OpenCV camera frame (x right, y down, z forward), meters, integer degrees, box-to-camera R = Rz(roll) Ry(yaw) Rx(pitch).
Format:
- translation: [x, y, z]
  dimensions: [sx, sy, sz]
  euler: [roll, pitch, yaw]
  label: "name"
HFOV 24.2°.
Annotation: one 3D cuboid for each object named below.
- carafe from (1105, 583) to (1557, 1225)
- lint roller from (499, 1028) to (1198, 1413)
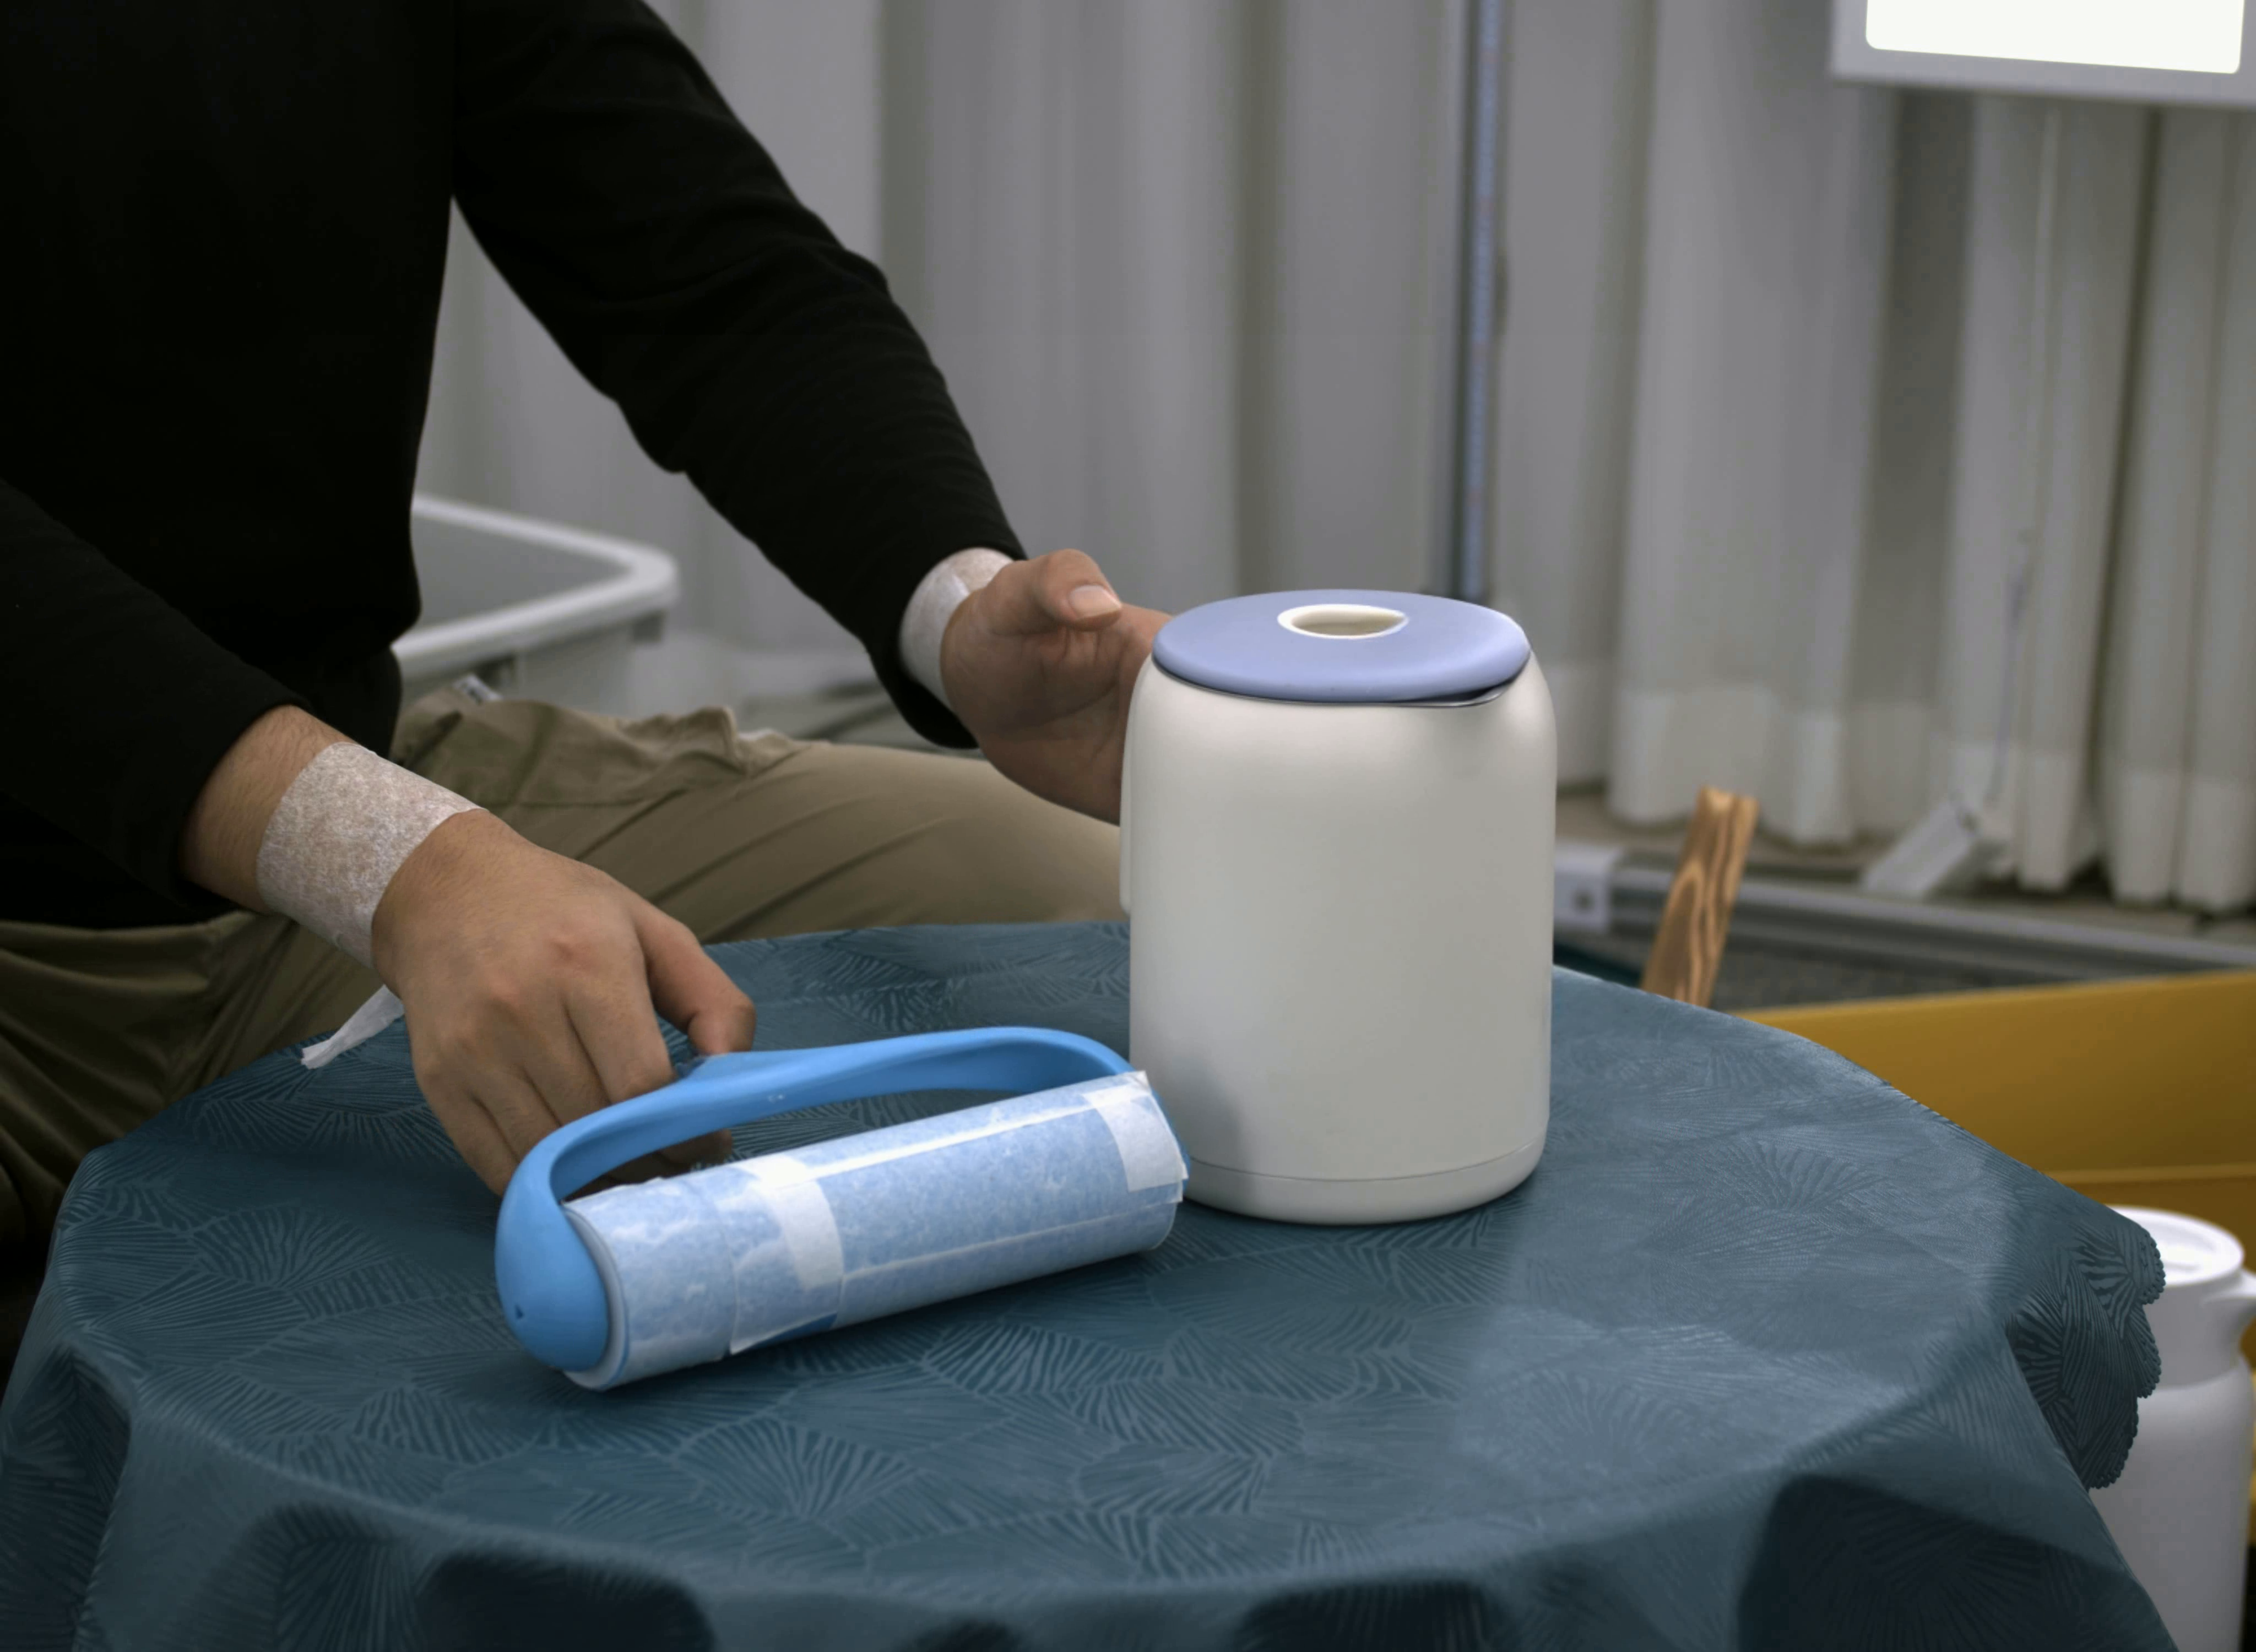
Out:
- translation: [0.052, 0.018, 1.641]
  dimensions: [0.133, 0.184, 0.188]
  euler: [-10, 17, -33]
  label: "carafe"
- translation: [-0.112, 0.098, 1.552]
  dimensions: [0.230, 0.068, 0.177]
  euler: [-16, 29, -36]
  label: "lint roller"
